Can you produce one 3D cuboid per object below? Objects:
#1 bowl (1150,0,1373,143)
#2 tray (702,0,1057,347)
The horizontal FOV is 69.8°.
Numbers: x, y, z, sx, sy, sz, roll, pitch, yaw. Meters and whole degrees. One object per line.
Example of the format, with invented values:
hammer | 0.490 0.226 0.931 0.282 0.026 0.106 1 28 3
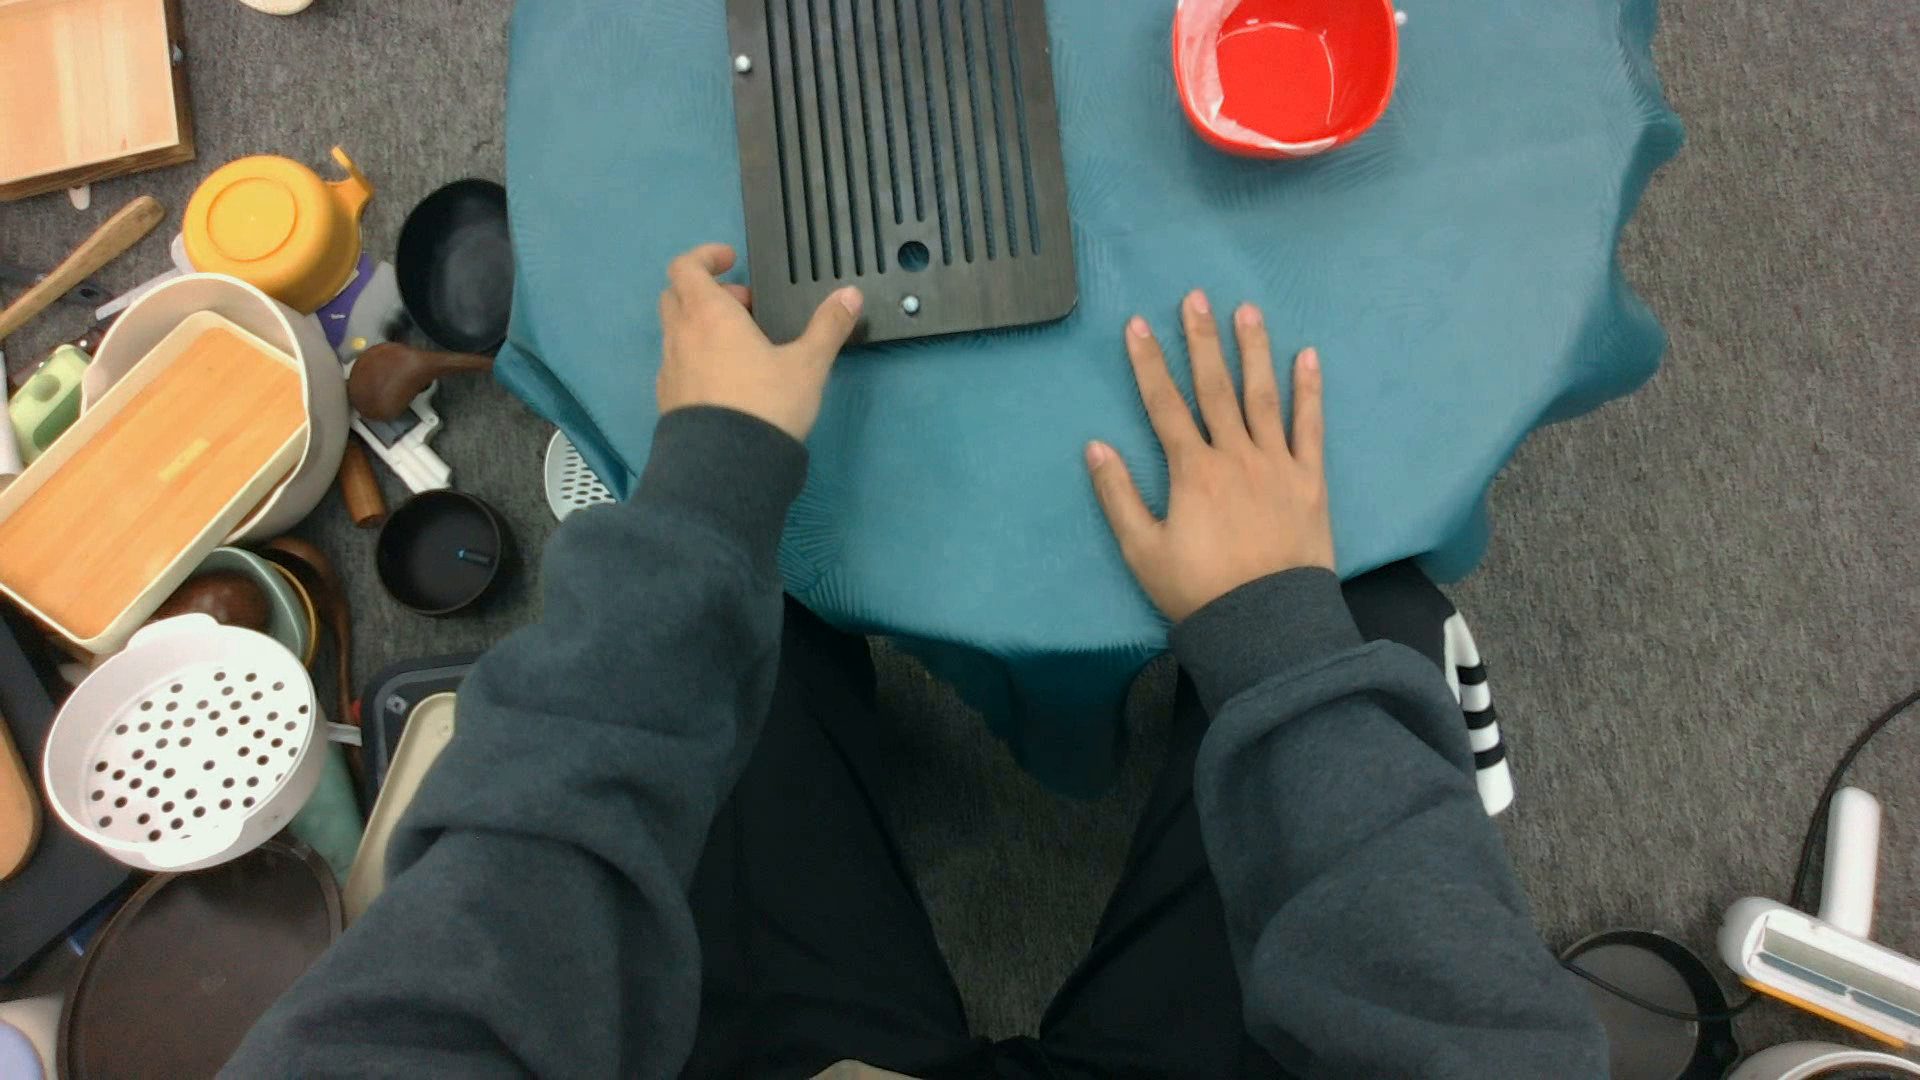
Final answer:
bowl | 0.151 -0.248 0.708 0.119 0.051 0.119 0 76 1
tray | -0.050 -0.257 0.739 0.170 0.018 0.306 -7 80 1
